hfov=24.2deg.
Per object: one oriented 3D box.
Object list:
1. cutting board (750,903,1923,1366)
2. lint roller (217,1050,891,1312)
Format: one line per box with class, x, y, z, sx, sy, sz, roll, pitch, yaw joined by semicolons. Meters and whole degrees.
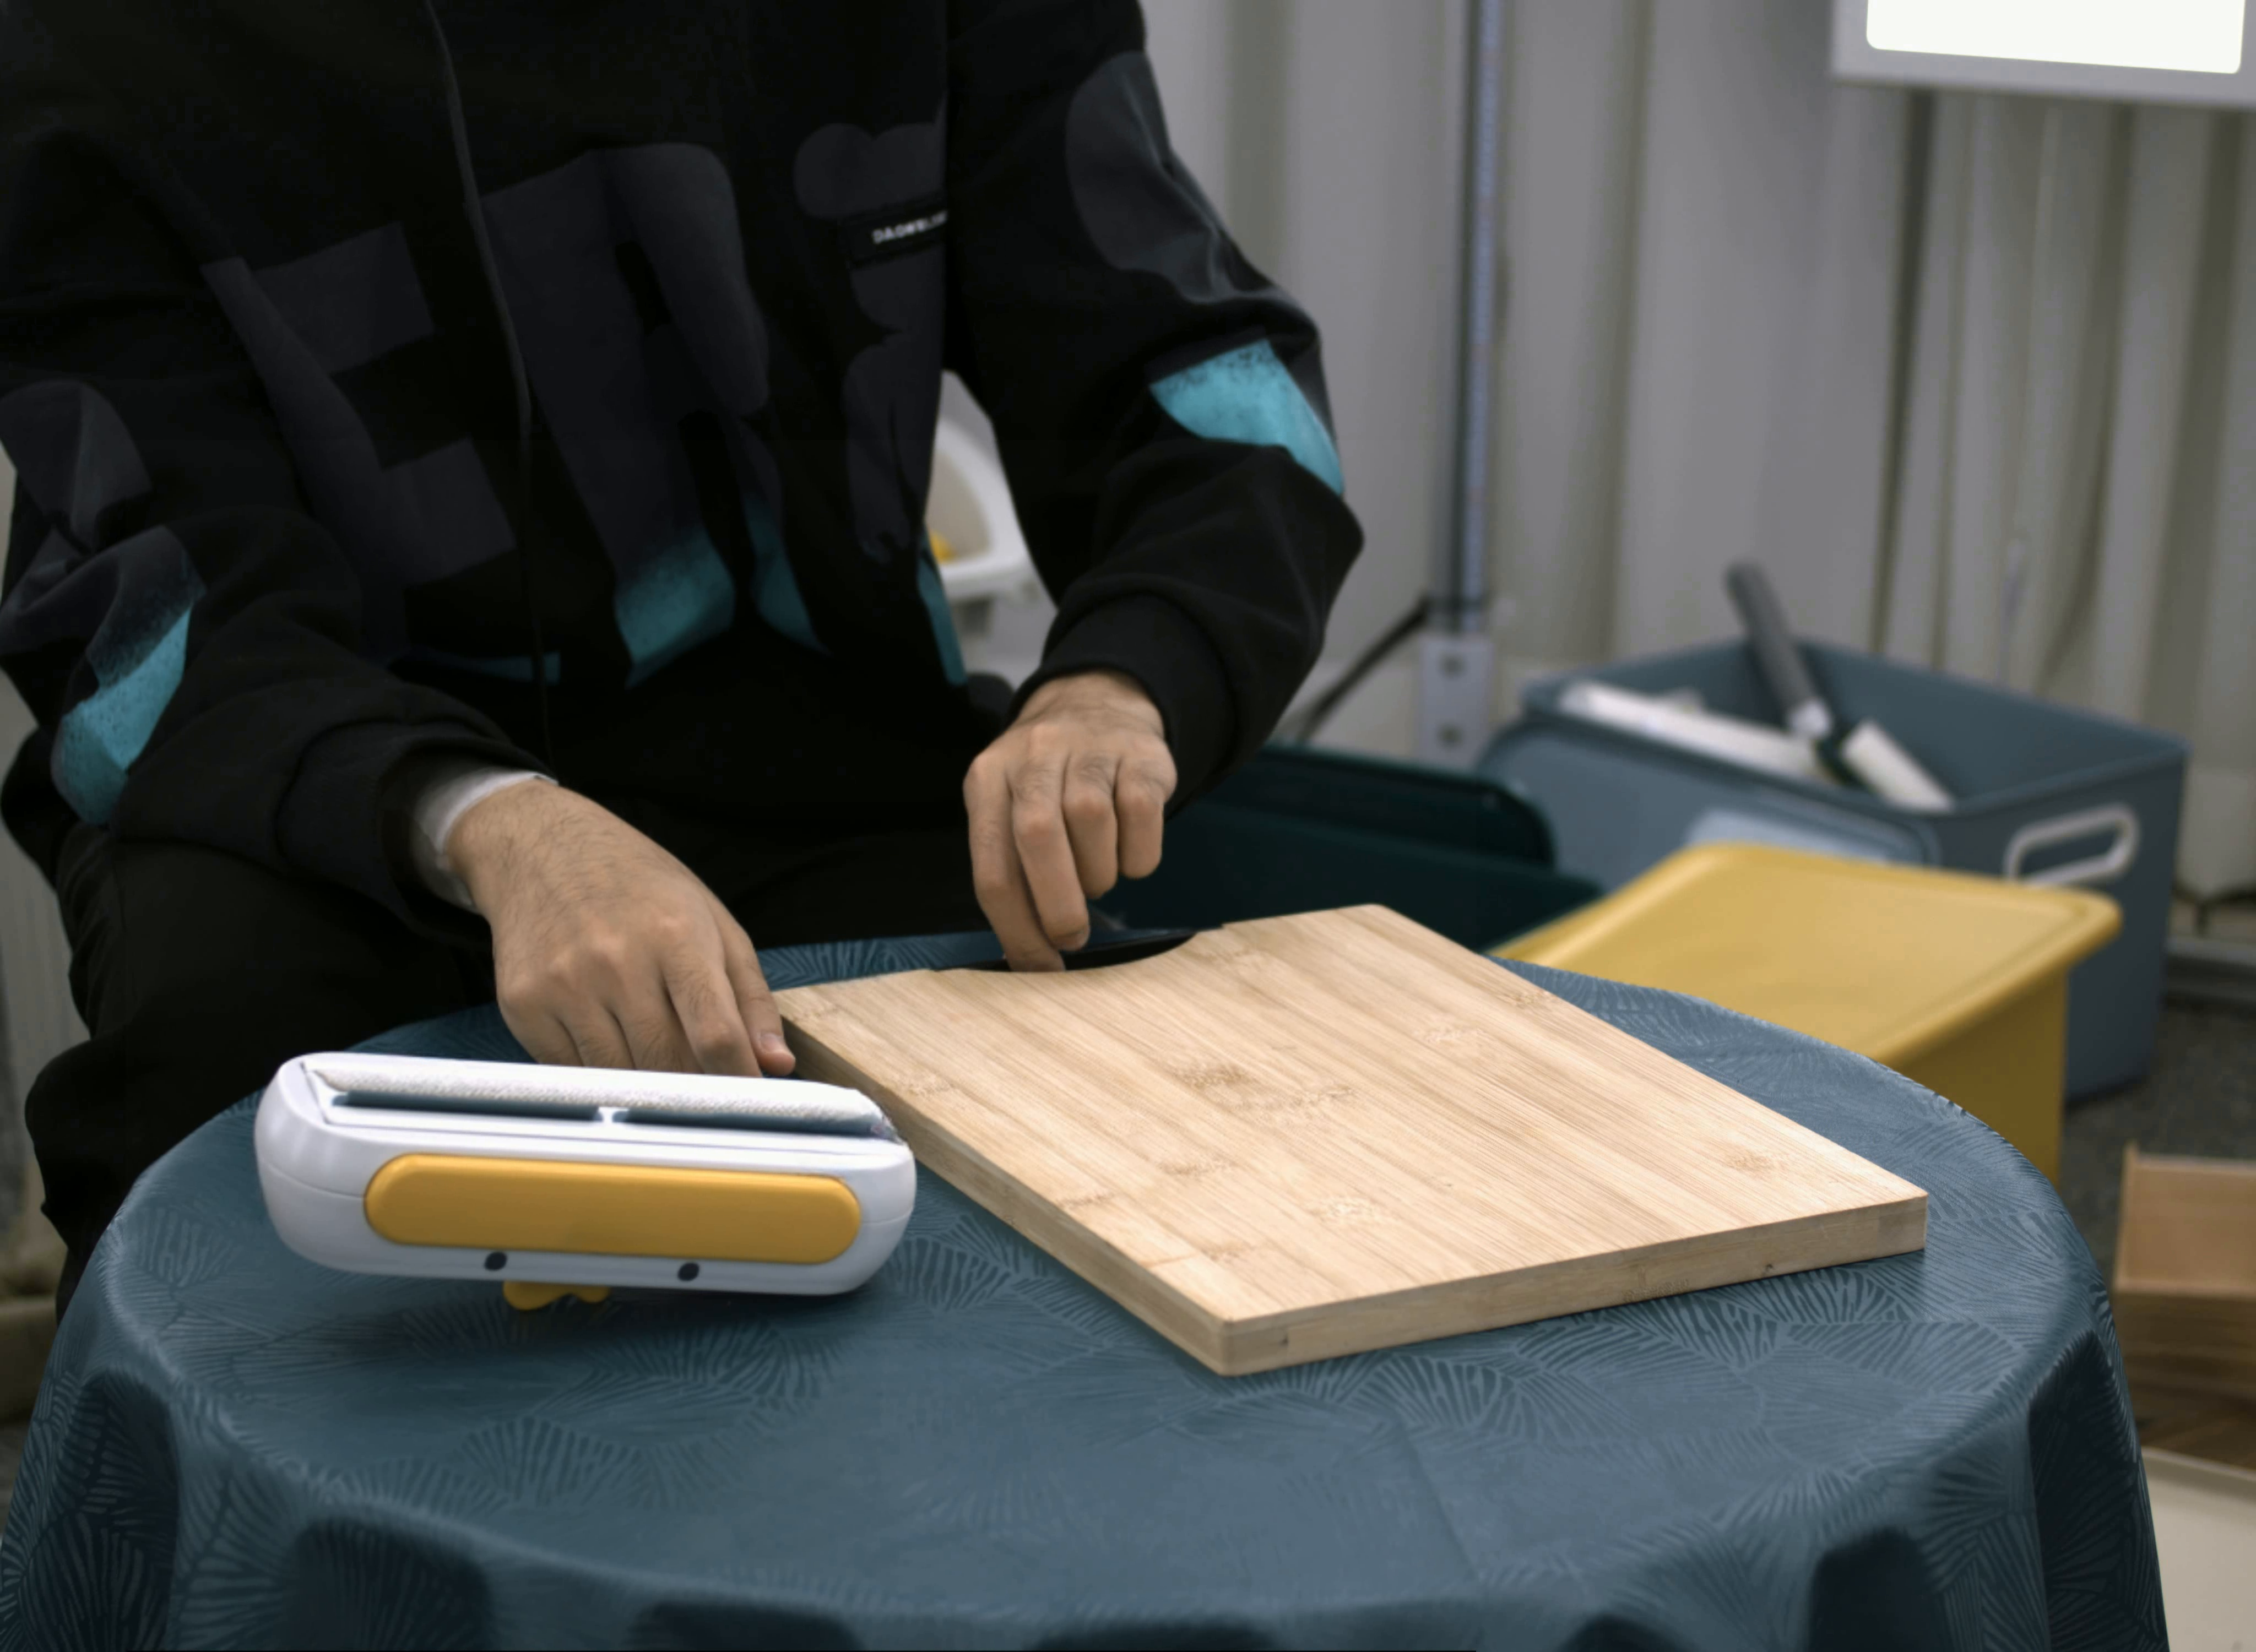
cutting board;0.055;0.091;1.669;0.252;0.024;0.344;-7;17;-27
lint roller;-0.179;0.093;1.559;0.193;0.074;0.190;1;13;-18
